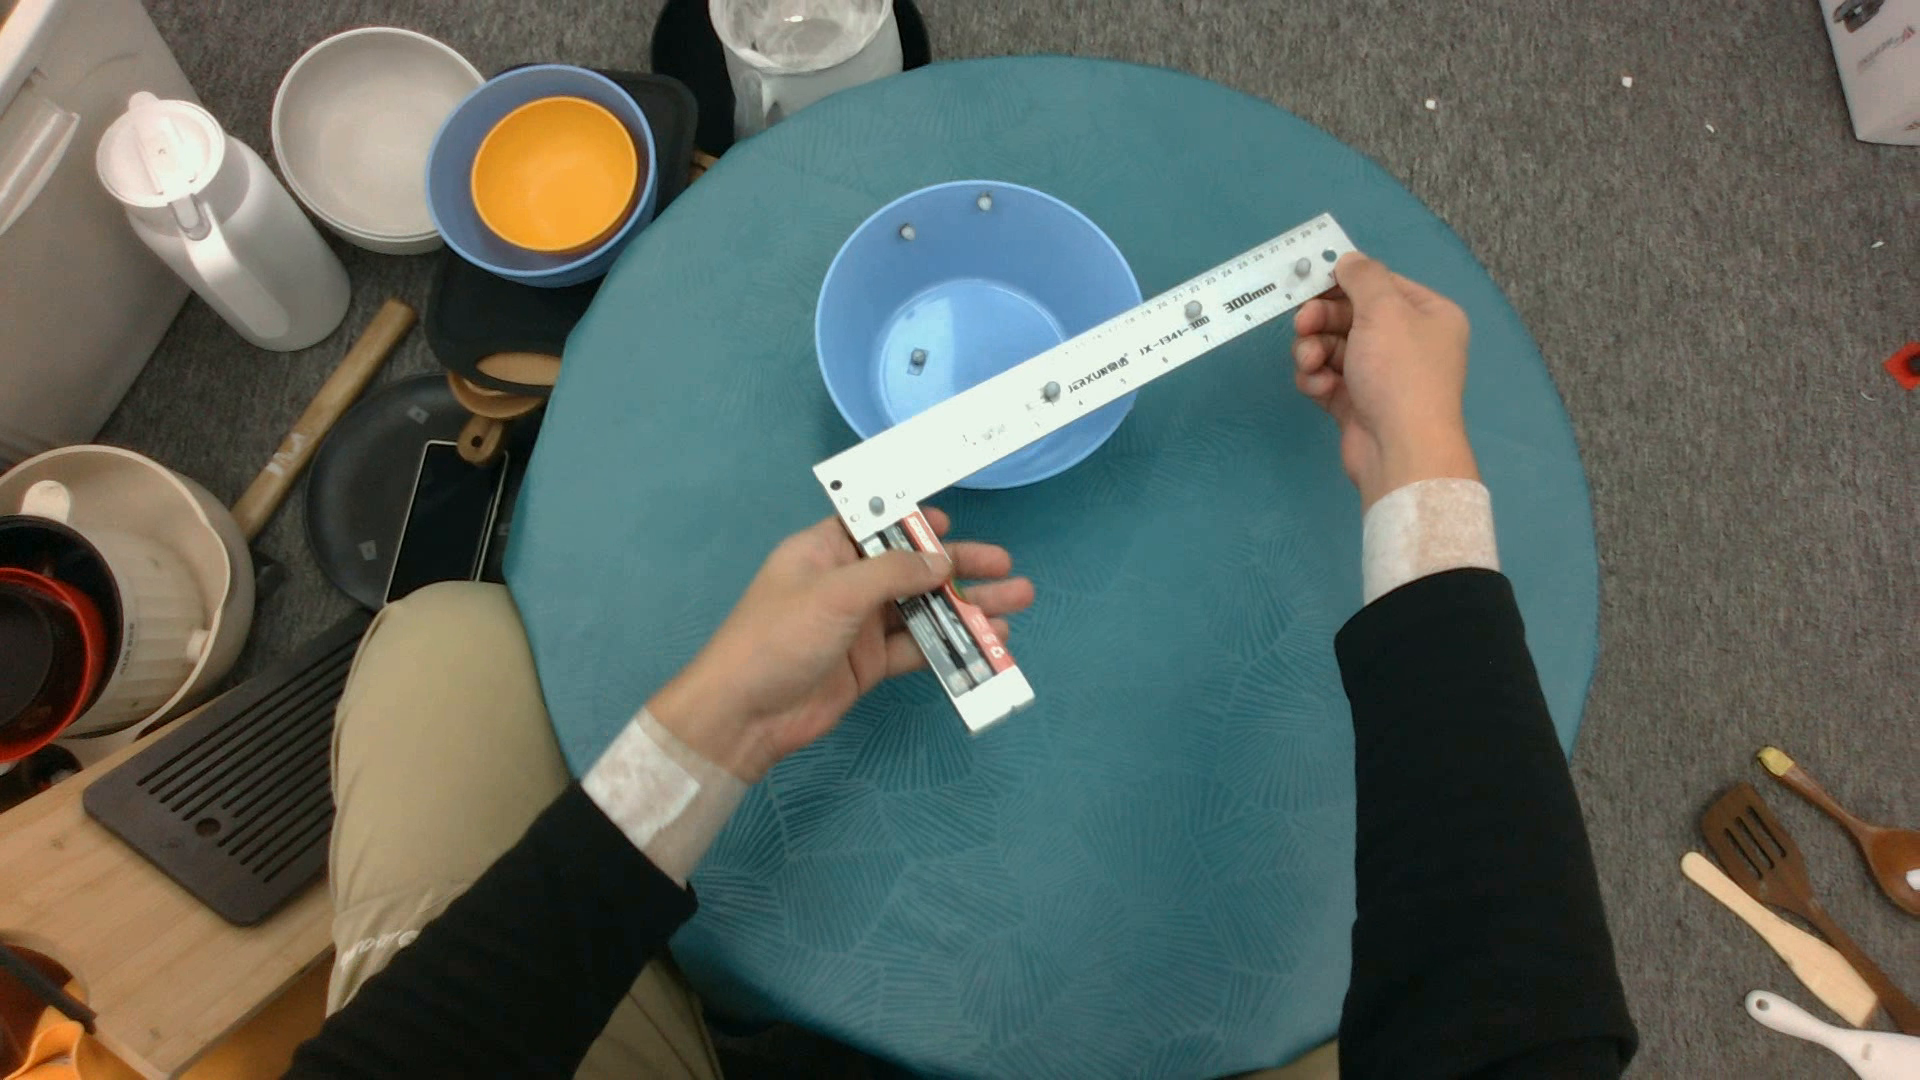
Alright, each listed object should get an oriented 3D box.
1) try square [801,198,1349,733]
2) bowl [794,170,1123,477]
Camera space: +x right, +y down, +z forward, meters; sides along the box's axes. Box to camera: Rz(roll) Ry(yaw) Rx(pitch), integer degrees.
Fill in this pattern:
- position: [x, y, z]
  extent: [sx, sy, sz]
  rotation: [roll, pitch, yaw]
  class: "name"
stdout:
- position: [0.092, -0.047, 0.679]
  extent: [0.313, 0.016, 0.152]
  rotation: [-29, 74, -14]
  class: "try square"
- position: [-0.002, -0.108, 0.752]
  extent: [0.176, 0.070, 0.176]
  rotation: [2, 74, -5]
  class: "bowl"
